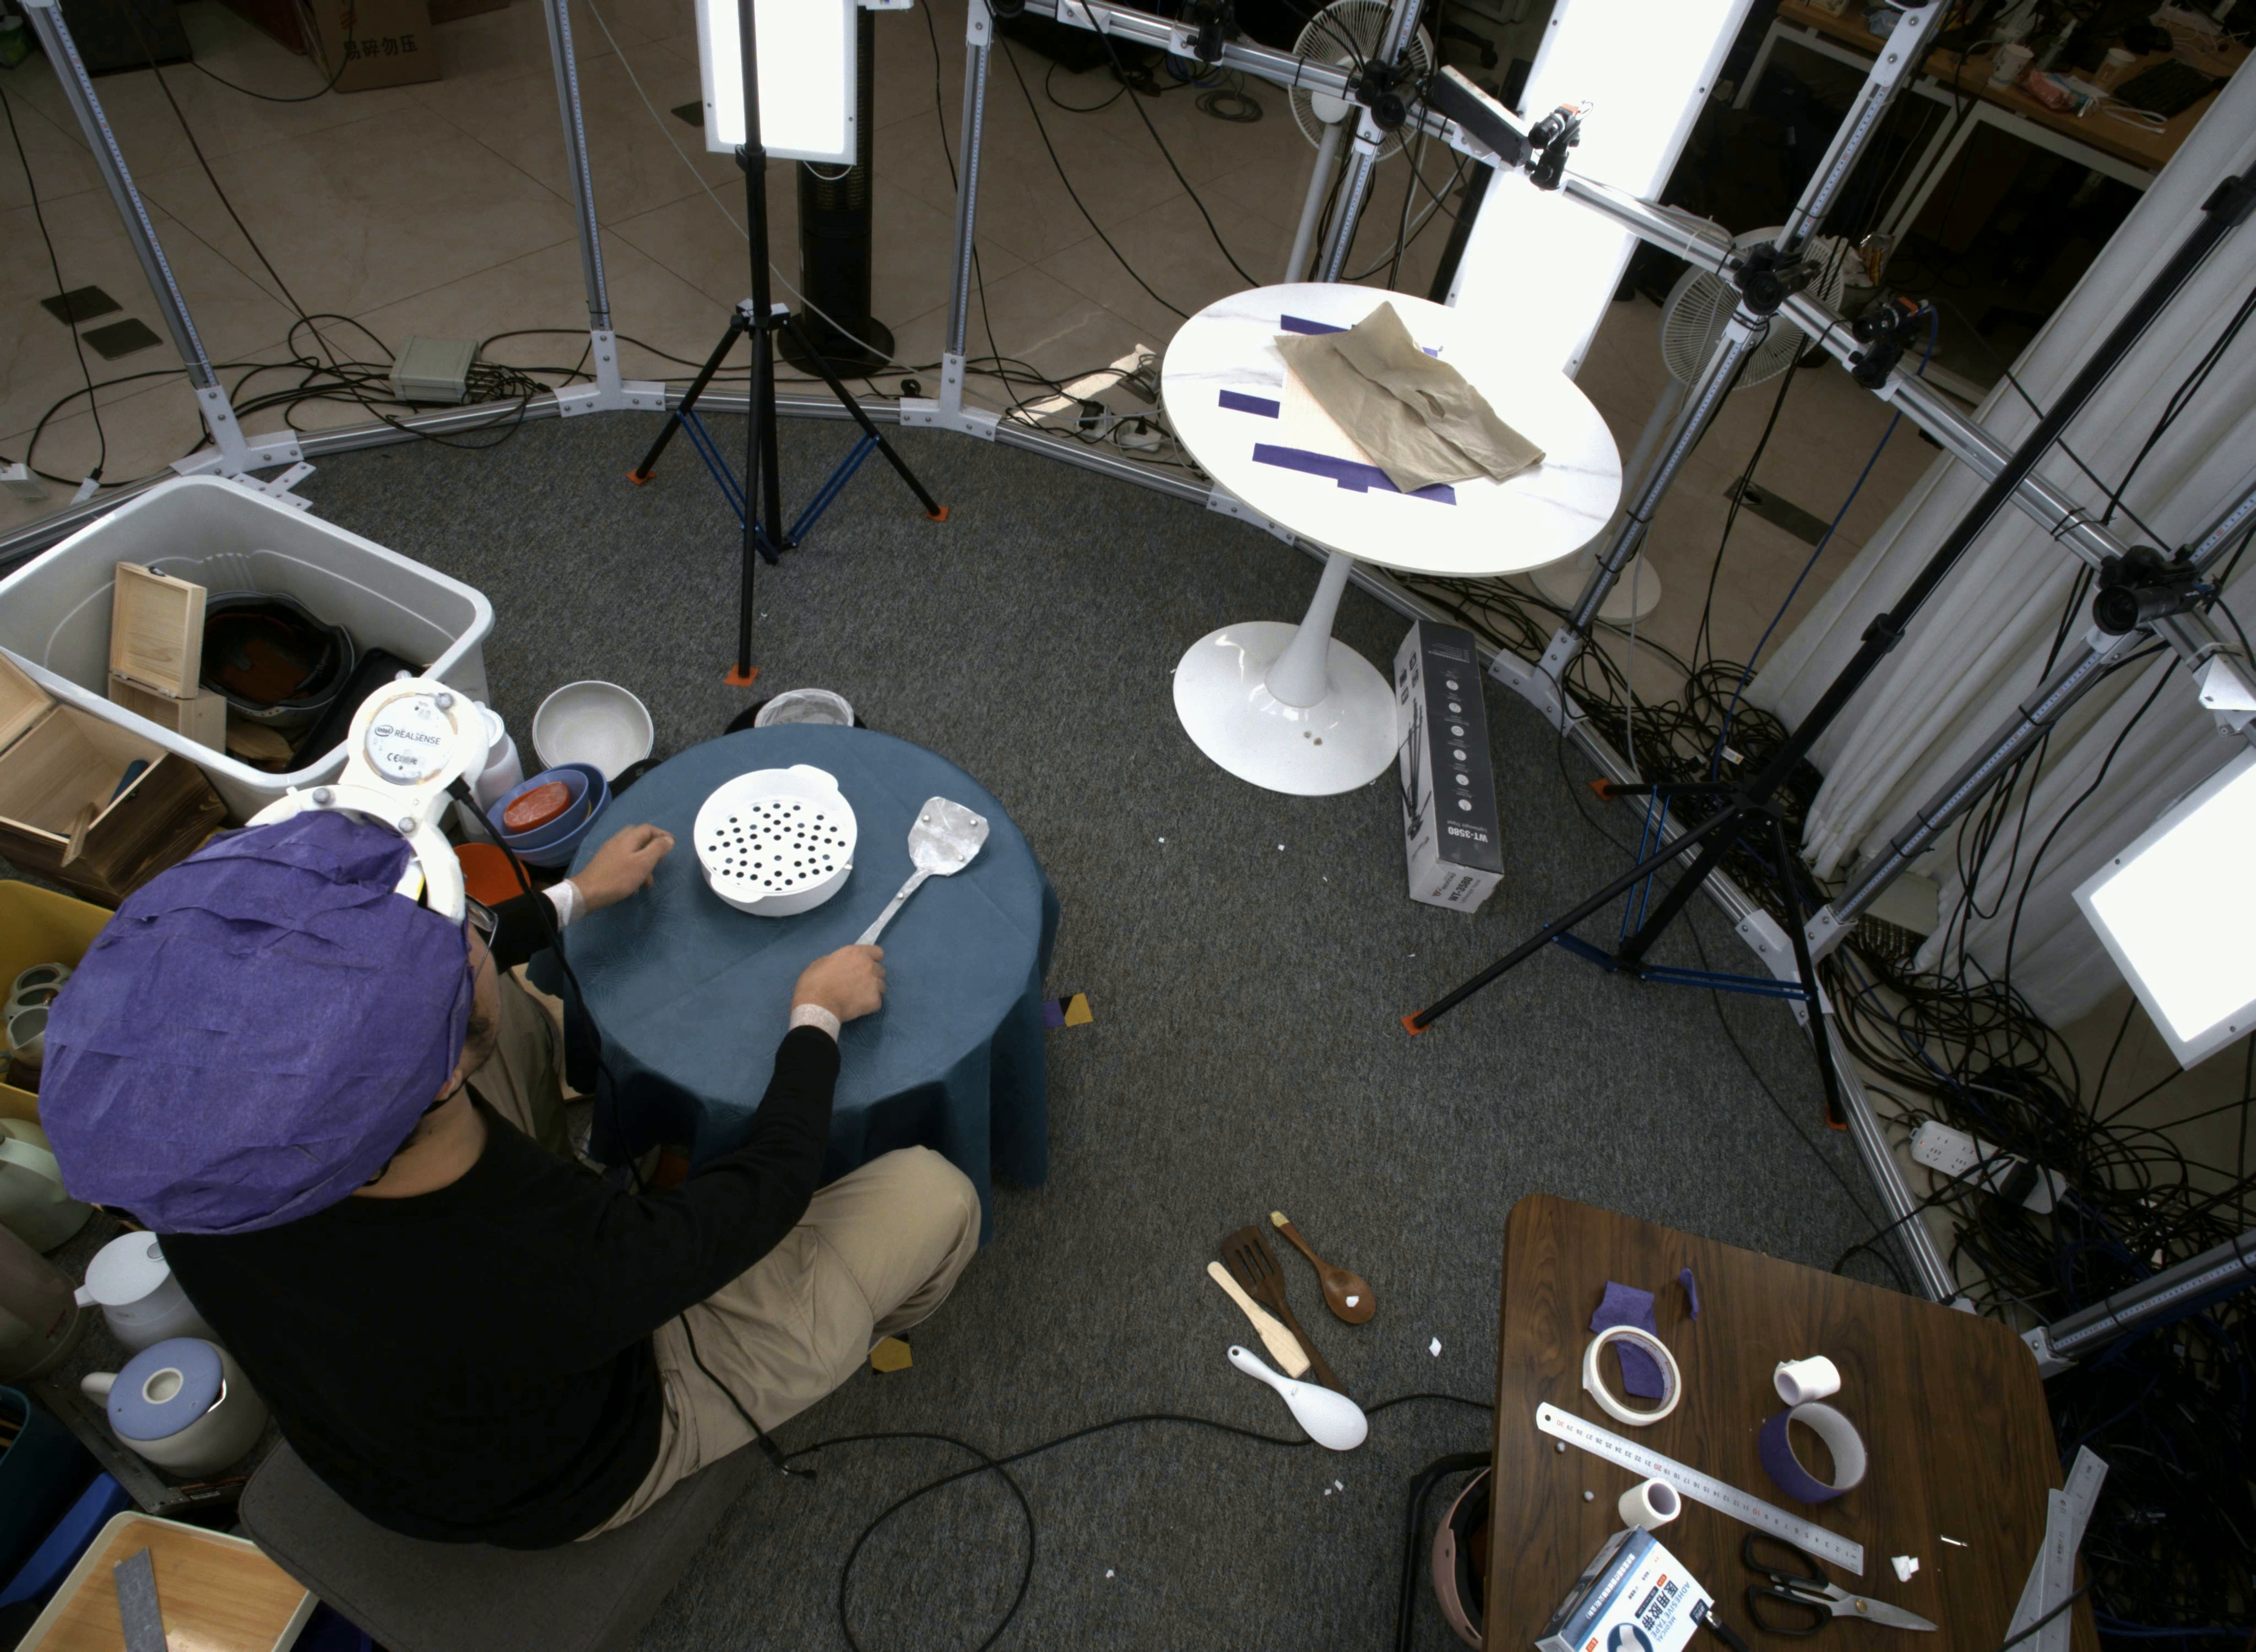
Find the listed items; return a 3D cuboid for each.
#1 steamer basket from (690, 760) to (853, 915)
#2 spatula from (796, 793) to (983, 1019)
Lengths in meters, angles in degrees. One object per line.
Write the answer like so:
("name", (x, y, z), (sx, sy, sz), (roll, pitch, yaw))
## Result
("steamer basket", (-0.452, 0.018, 1.653), (0.199, 0.070, 0.228), (22, 52, 4))
("spatula", (-0.308, 0.100, 1.650), (0.097, 0.045, 0.363), (28, 52, 6))
